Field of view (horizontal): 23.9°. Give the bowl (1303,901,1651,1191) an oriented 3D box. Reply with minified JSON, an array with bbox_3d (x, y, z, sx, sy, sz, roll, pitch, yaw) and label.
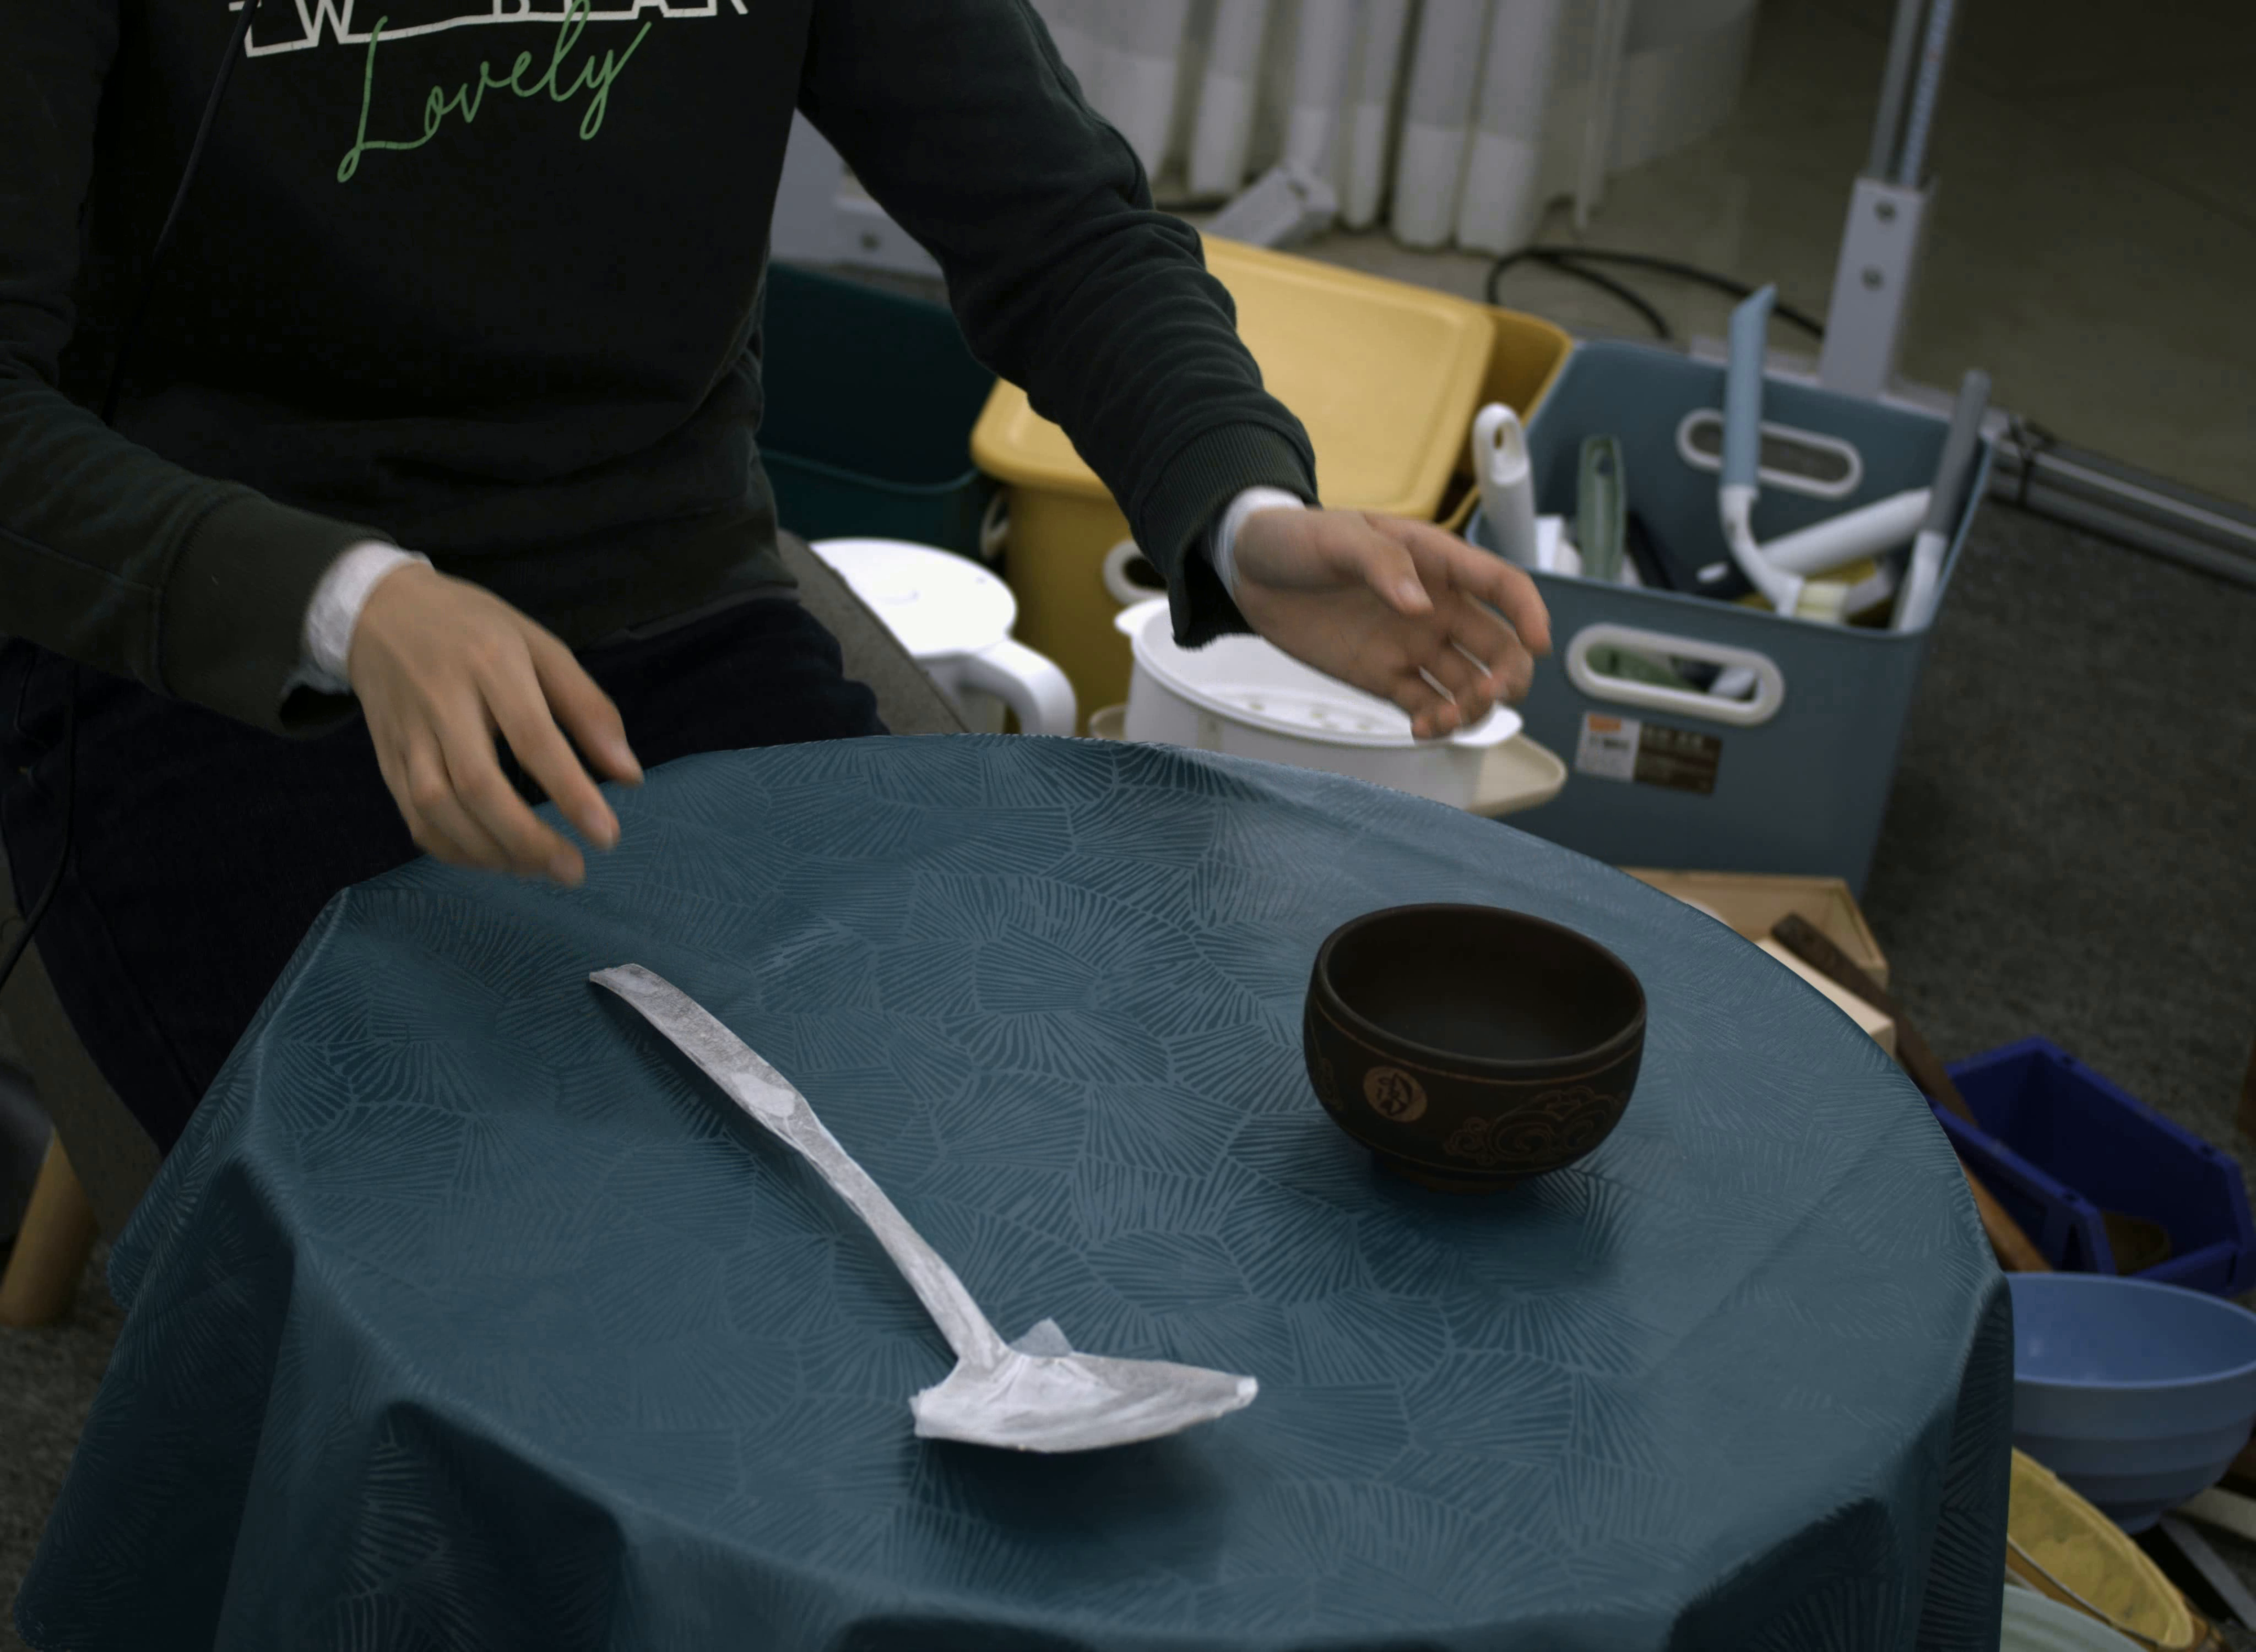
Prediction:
[{"bbox_3d":[0.117,0.082,1.830,0.117,0.069,0.119,6,25,-3],"label":"bowl"}]

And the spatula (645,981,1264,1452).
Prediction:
[{"bbox_3d":[-0.081,0.120,1.747,0.098,0.044,0.368,-11,32,-28],"label":"spatula"}]
